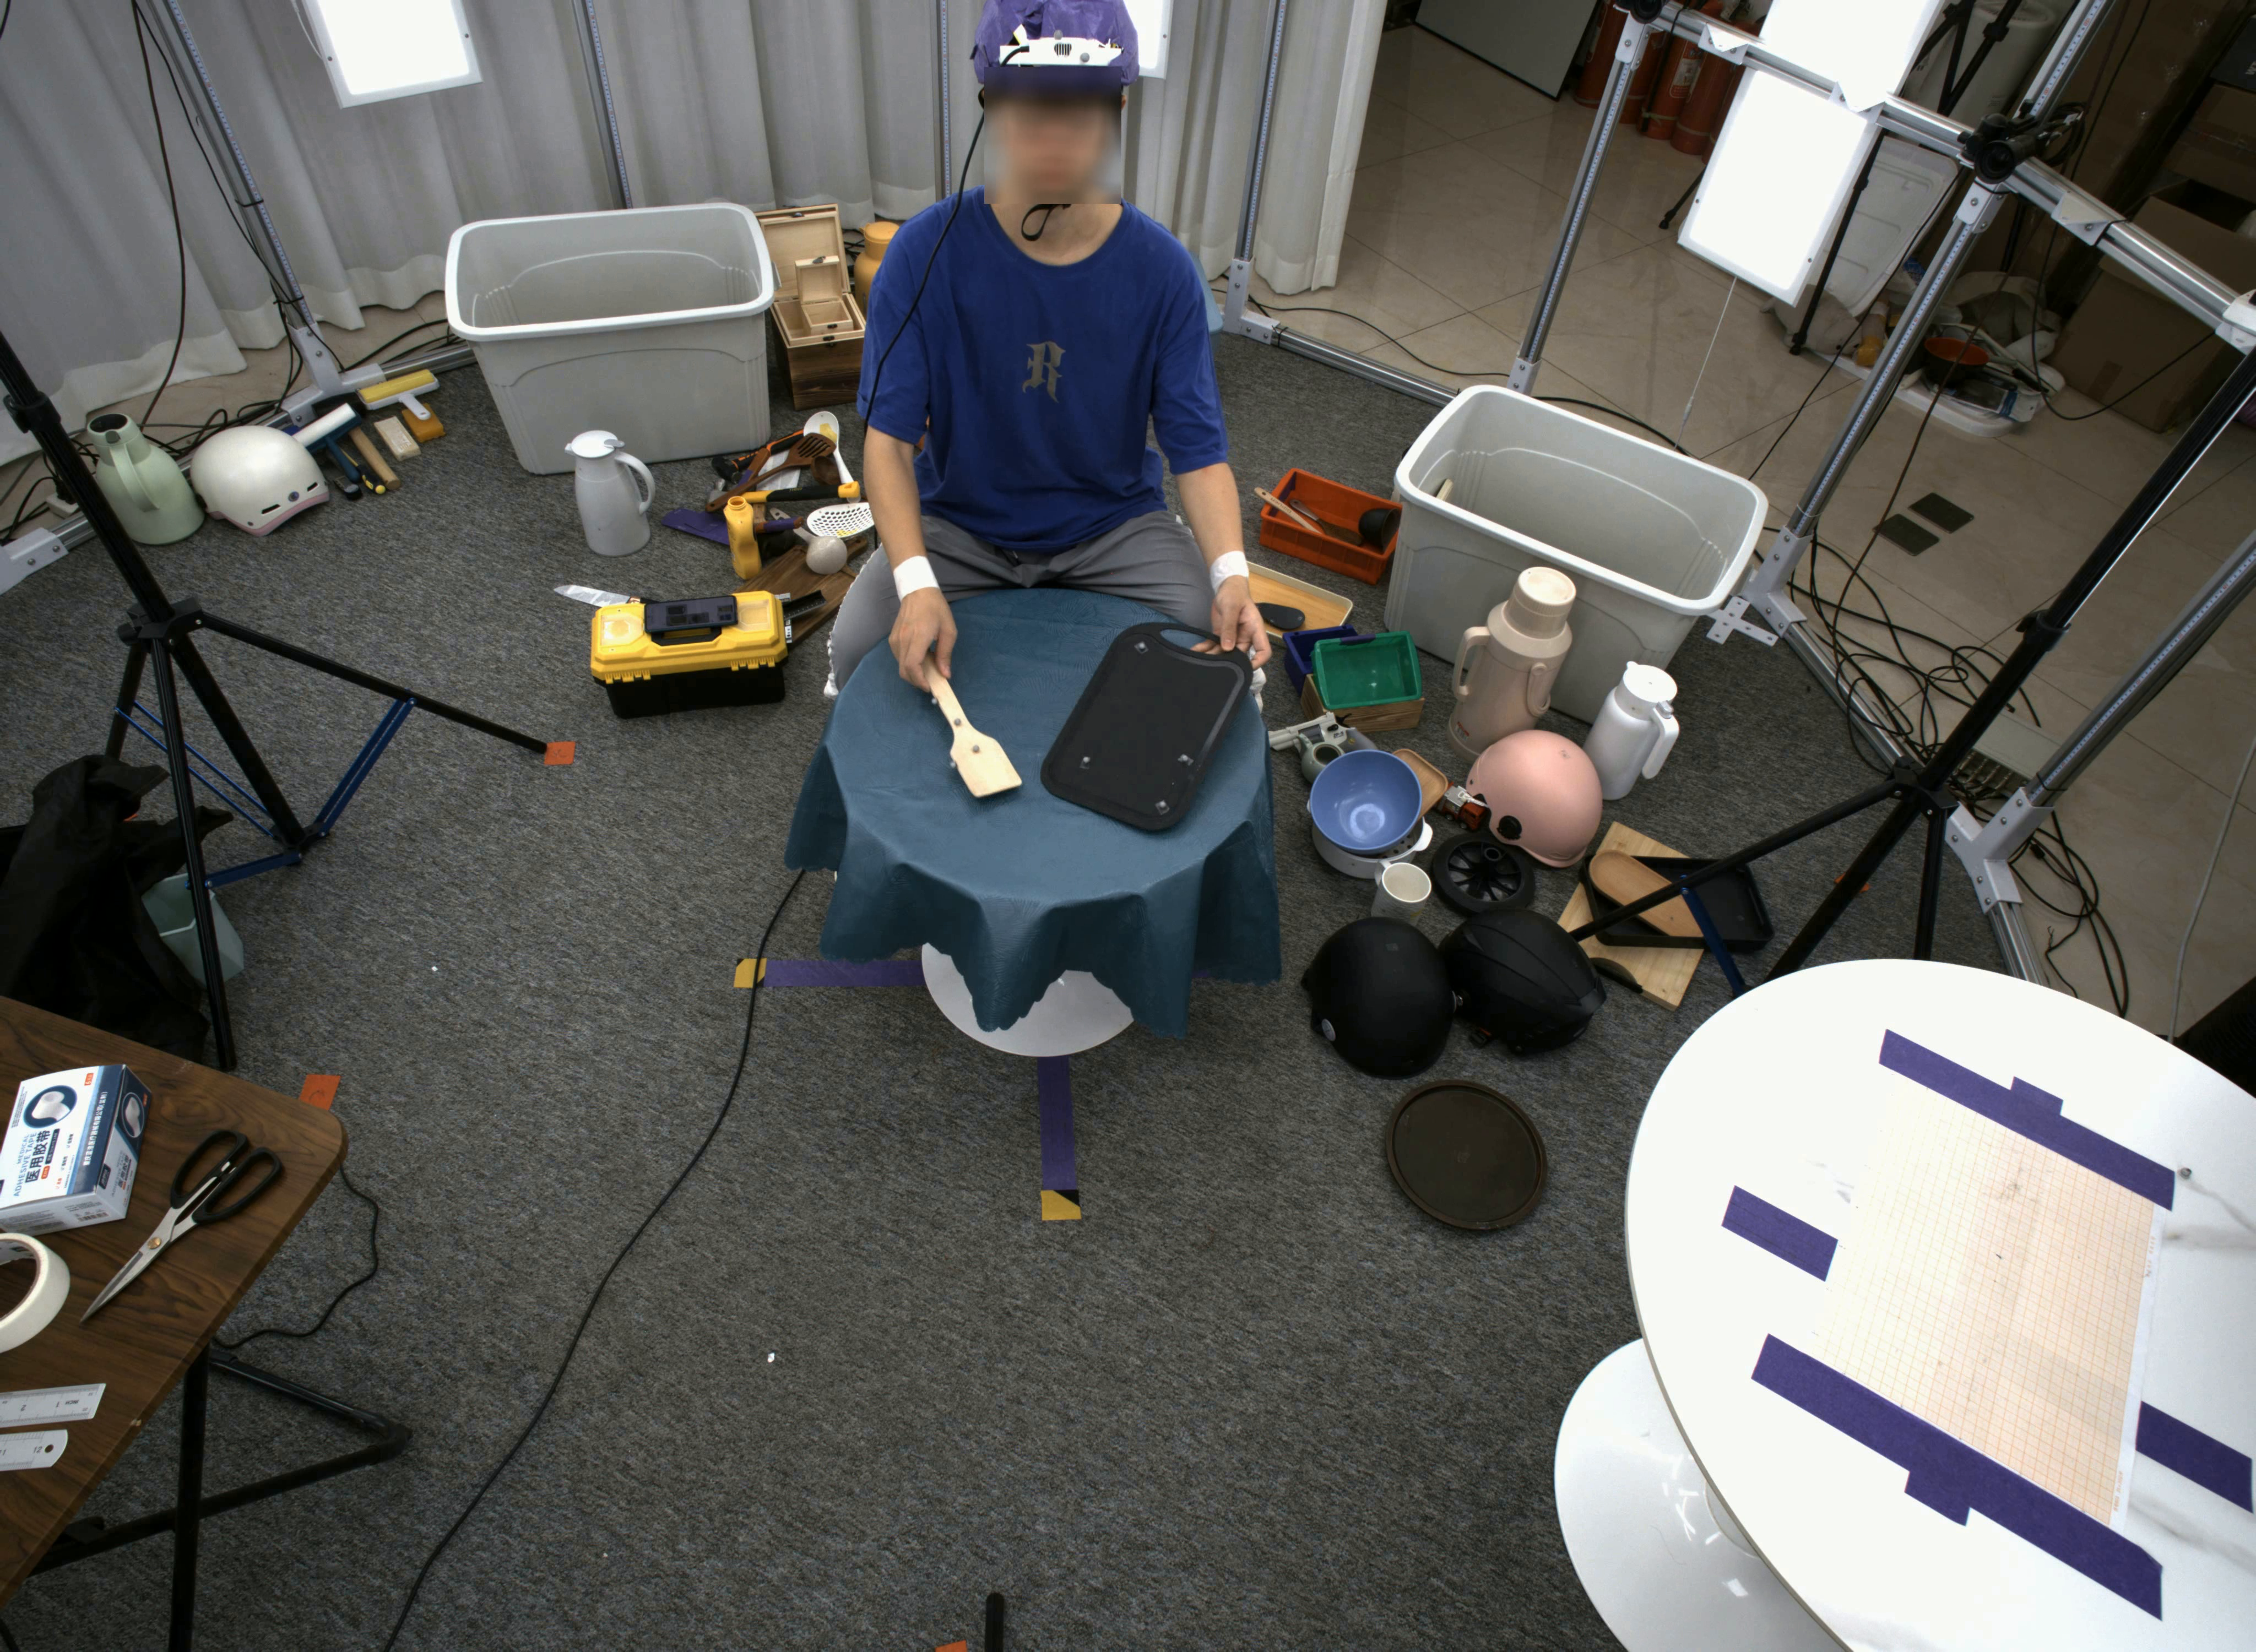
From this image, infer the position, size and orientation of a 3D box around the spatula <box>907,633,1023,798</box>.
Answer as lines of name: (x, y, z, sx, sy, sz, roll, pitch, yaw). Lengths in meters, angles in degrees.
spatula: (-0.236, -0.157, 1.757, 0.072, 0.010, 0.299, -19, 60, -22)

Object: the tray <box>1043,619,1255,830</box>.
tray: (0.034, -0.152, 1.749, 0.212, 0.009, 0.330, 21, 64, 18)
